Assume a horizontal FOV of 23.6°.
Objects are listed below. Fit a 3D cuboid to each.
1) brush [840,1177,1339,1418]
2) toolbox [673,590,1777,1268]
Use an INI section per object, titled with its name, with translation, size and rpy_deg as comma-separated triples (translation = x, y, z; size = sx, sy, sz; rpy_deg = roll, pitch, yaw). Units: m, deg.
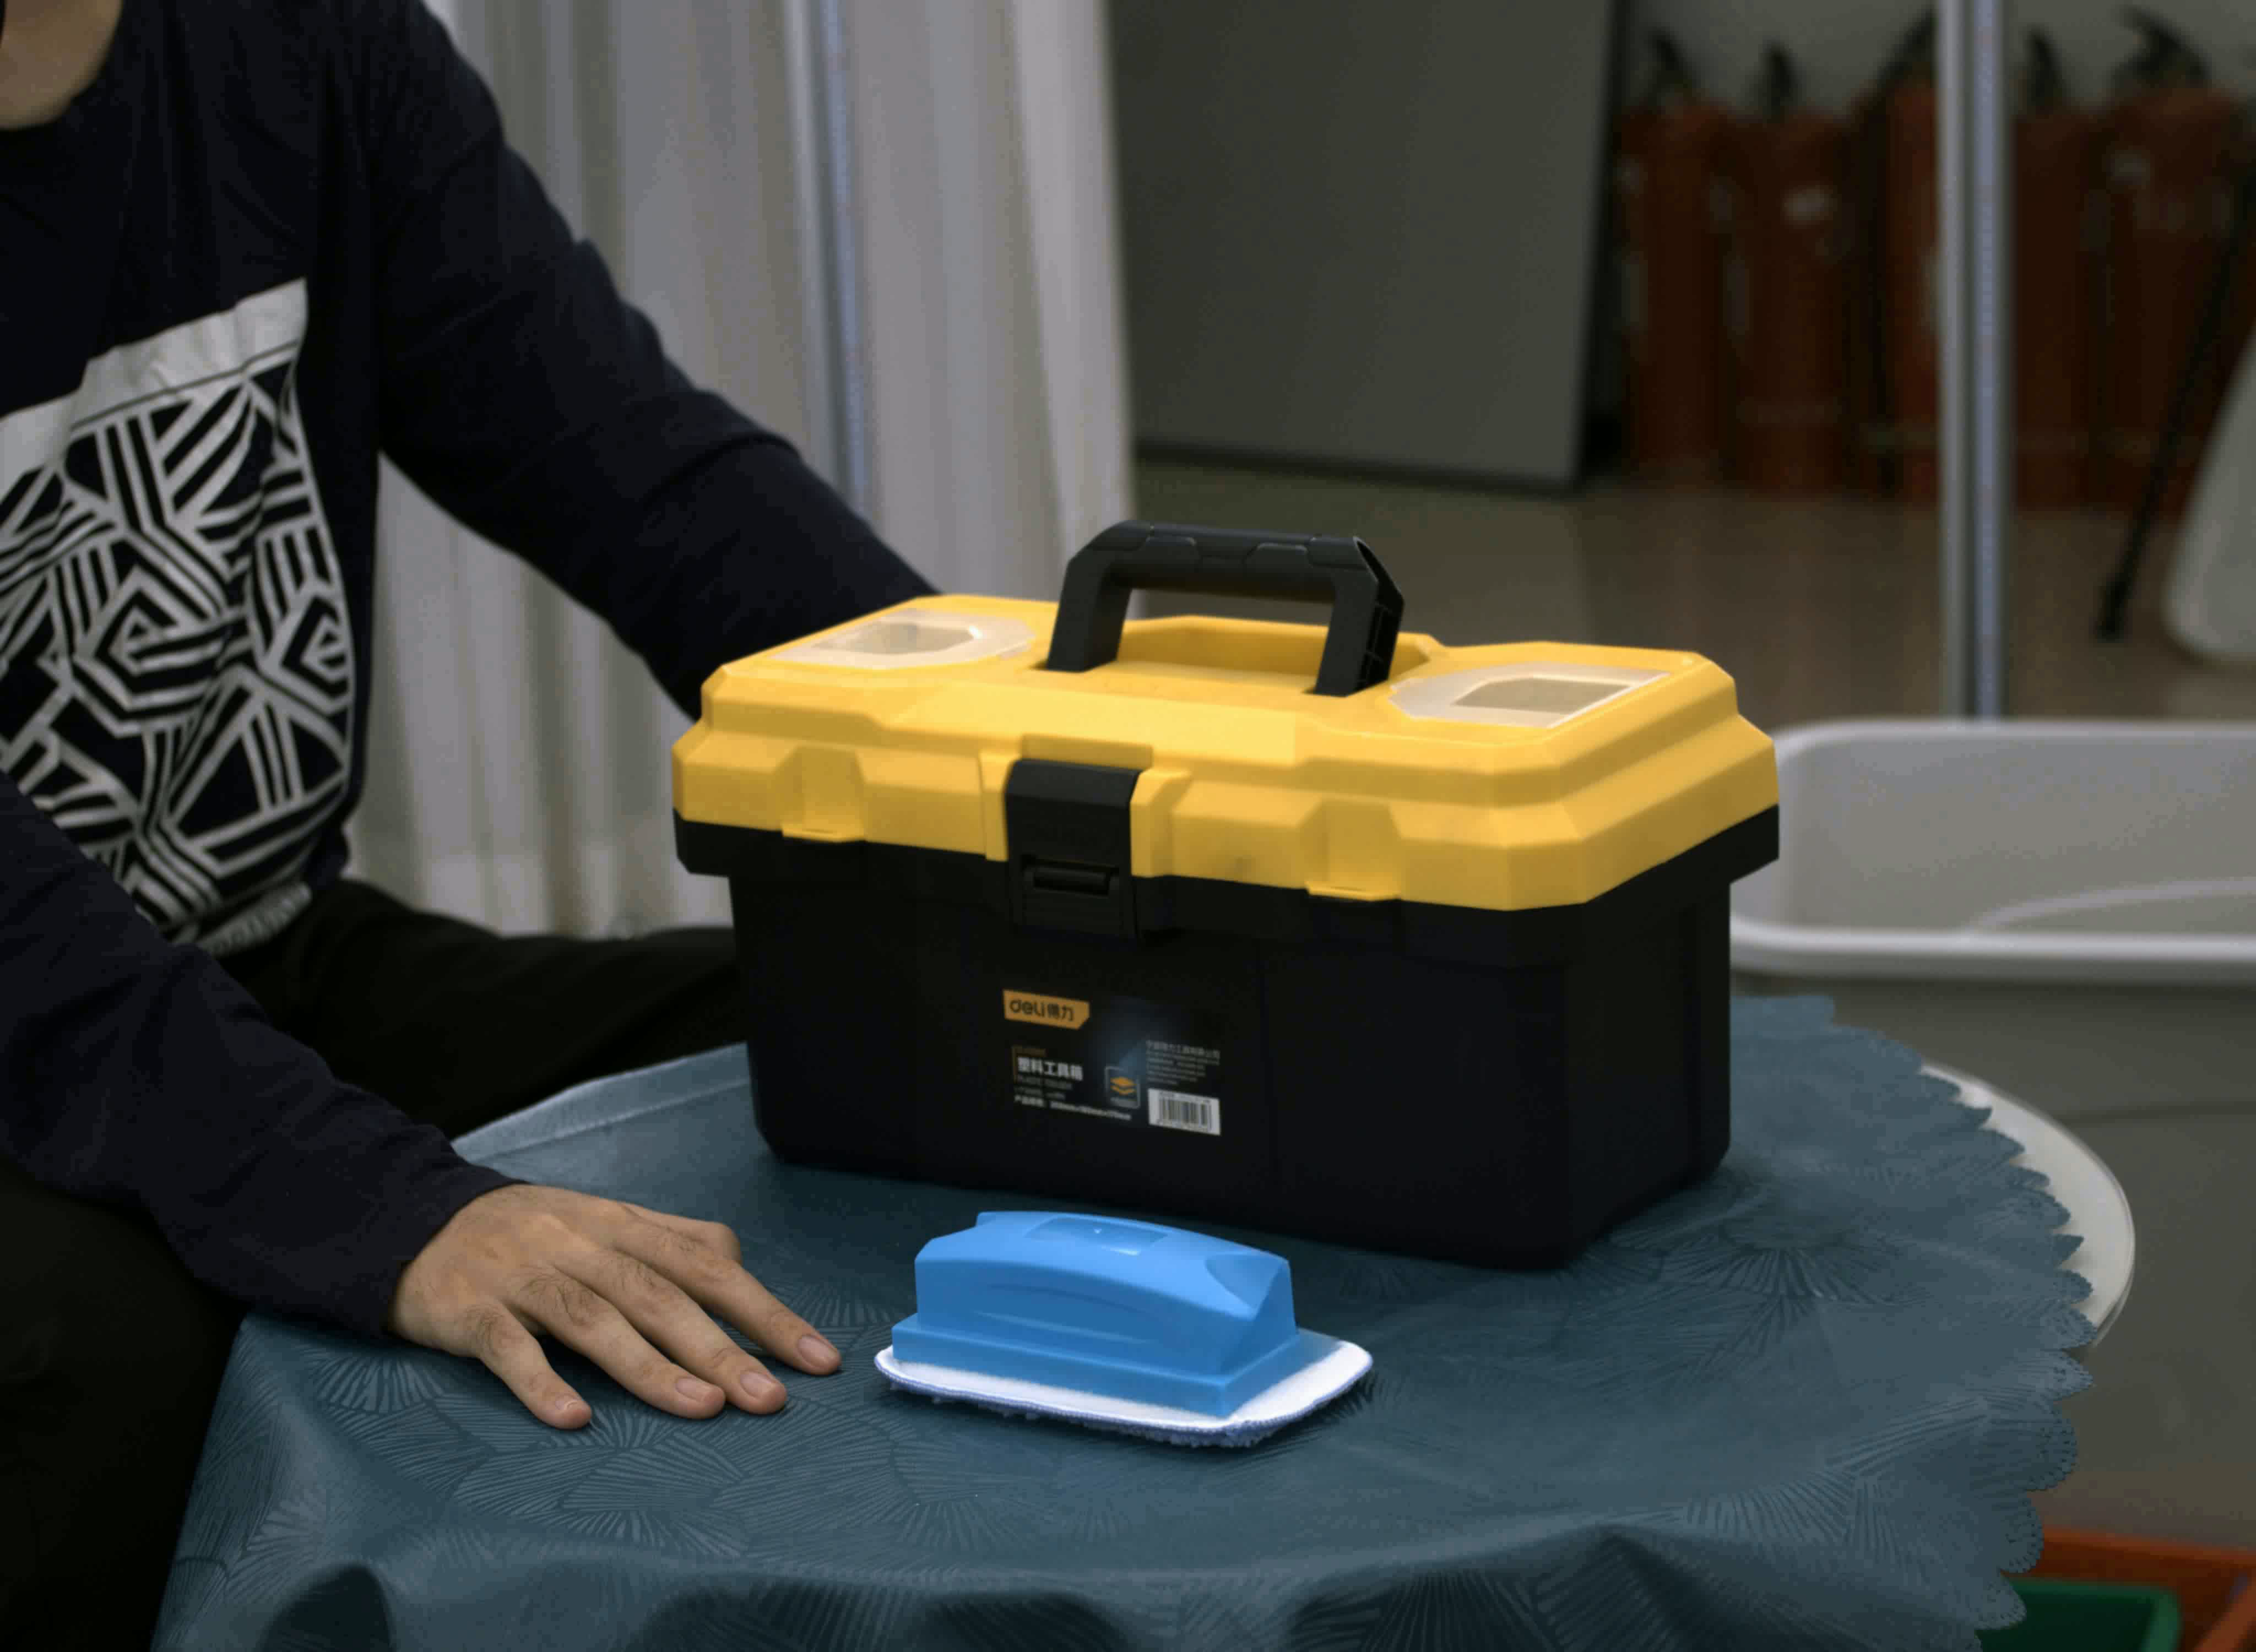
[brush]
translation = -0.011, 0.137, 1.583
size = 0.145, 0.056, 0.082
rpy_deg = 9, 15, 36
[toolbox]
translation = 0.029, 0.029, 1.775
size = 0.353, 0.175, 0.178
rpy_deg = 6, 16, 34
